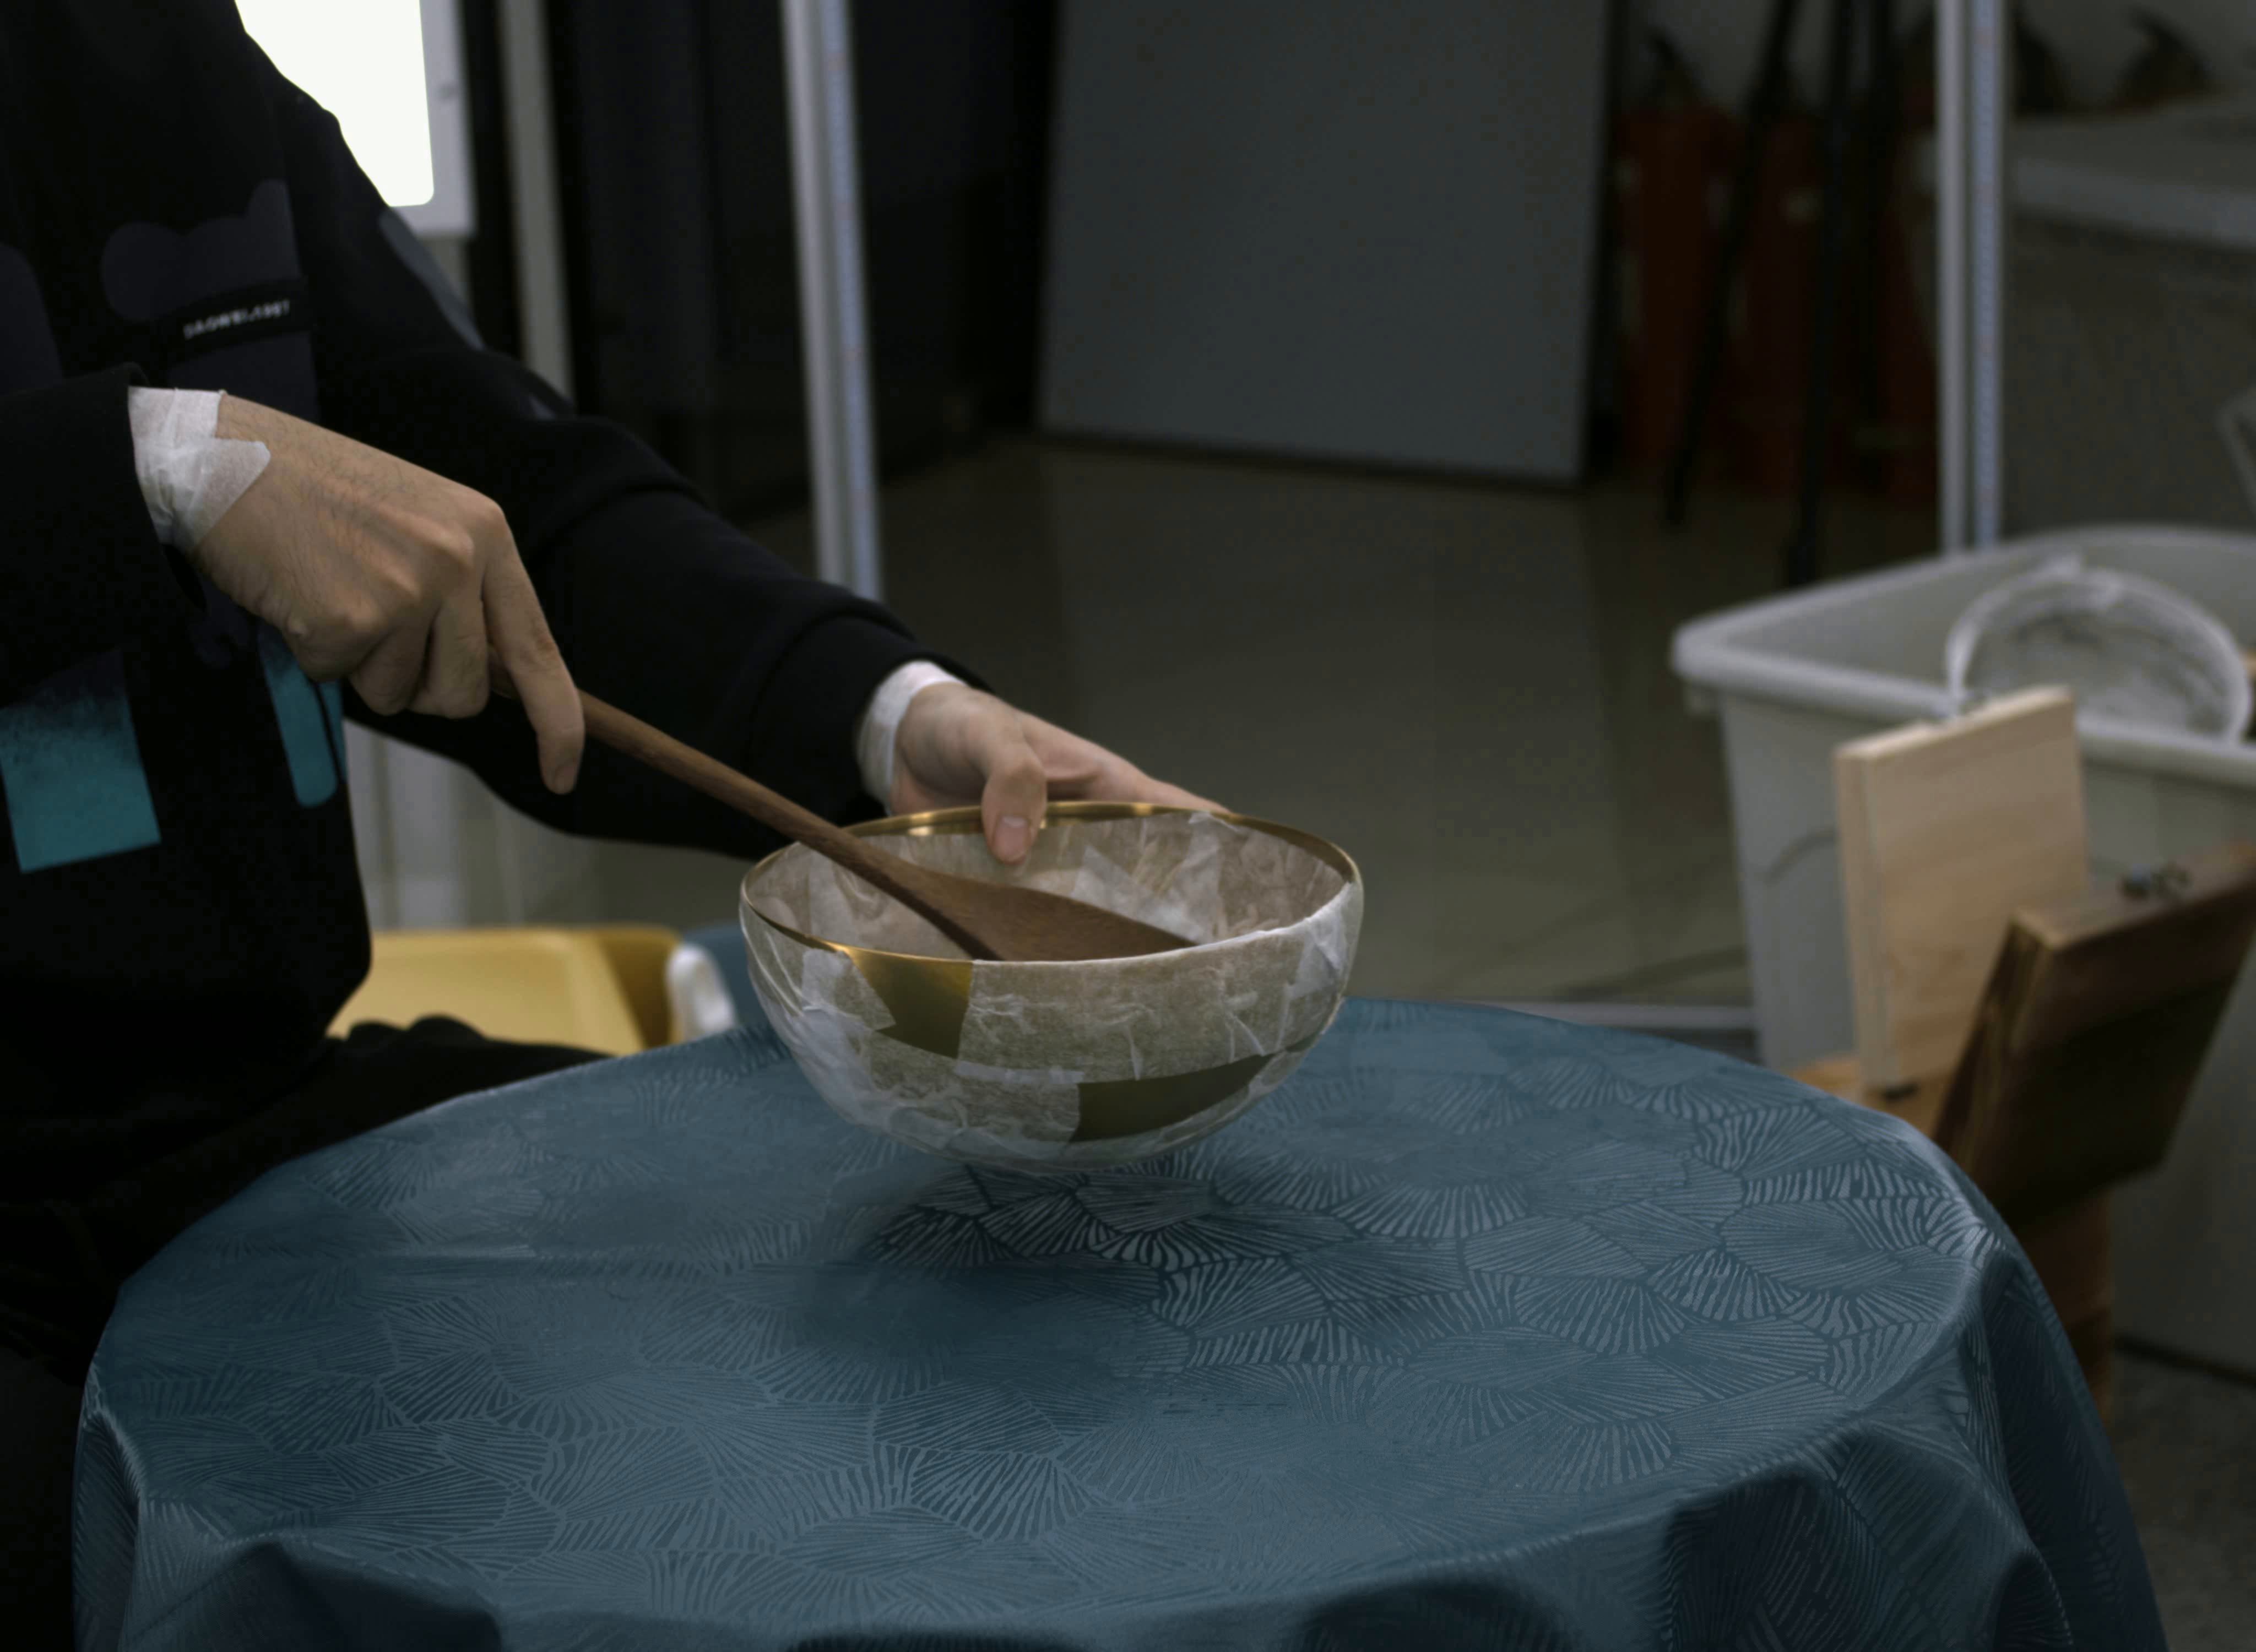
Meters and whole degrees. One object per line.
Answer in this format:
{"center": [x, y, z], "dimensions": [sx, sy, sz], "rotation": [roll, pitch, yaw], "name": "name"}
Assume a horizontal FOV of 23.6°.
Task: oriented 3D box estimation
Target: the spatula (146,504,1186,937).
{"center": [-0.138, -0.019, 1.739], "dimensions": [0.382, 0.016, 0.096], "rotation": [26, 18, -4], "name": "spatula"}

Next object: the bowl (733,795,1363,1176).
{"center": [-0.024, 0.057, 1.727], "dimensions": [0.212, 0.095, 0.215], "rotation": [-3, 14, 0], "name": "bowl"}
